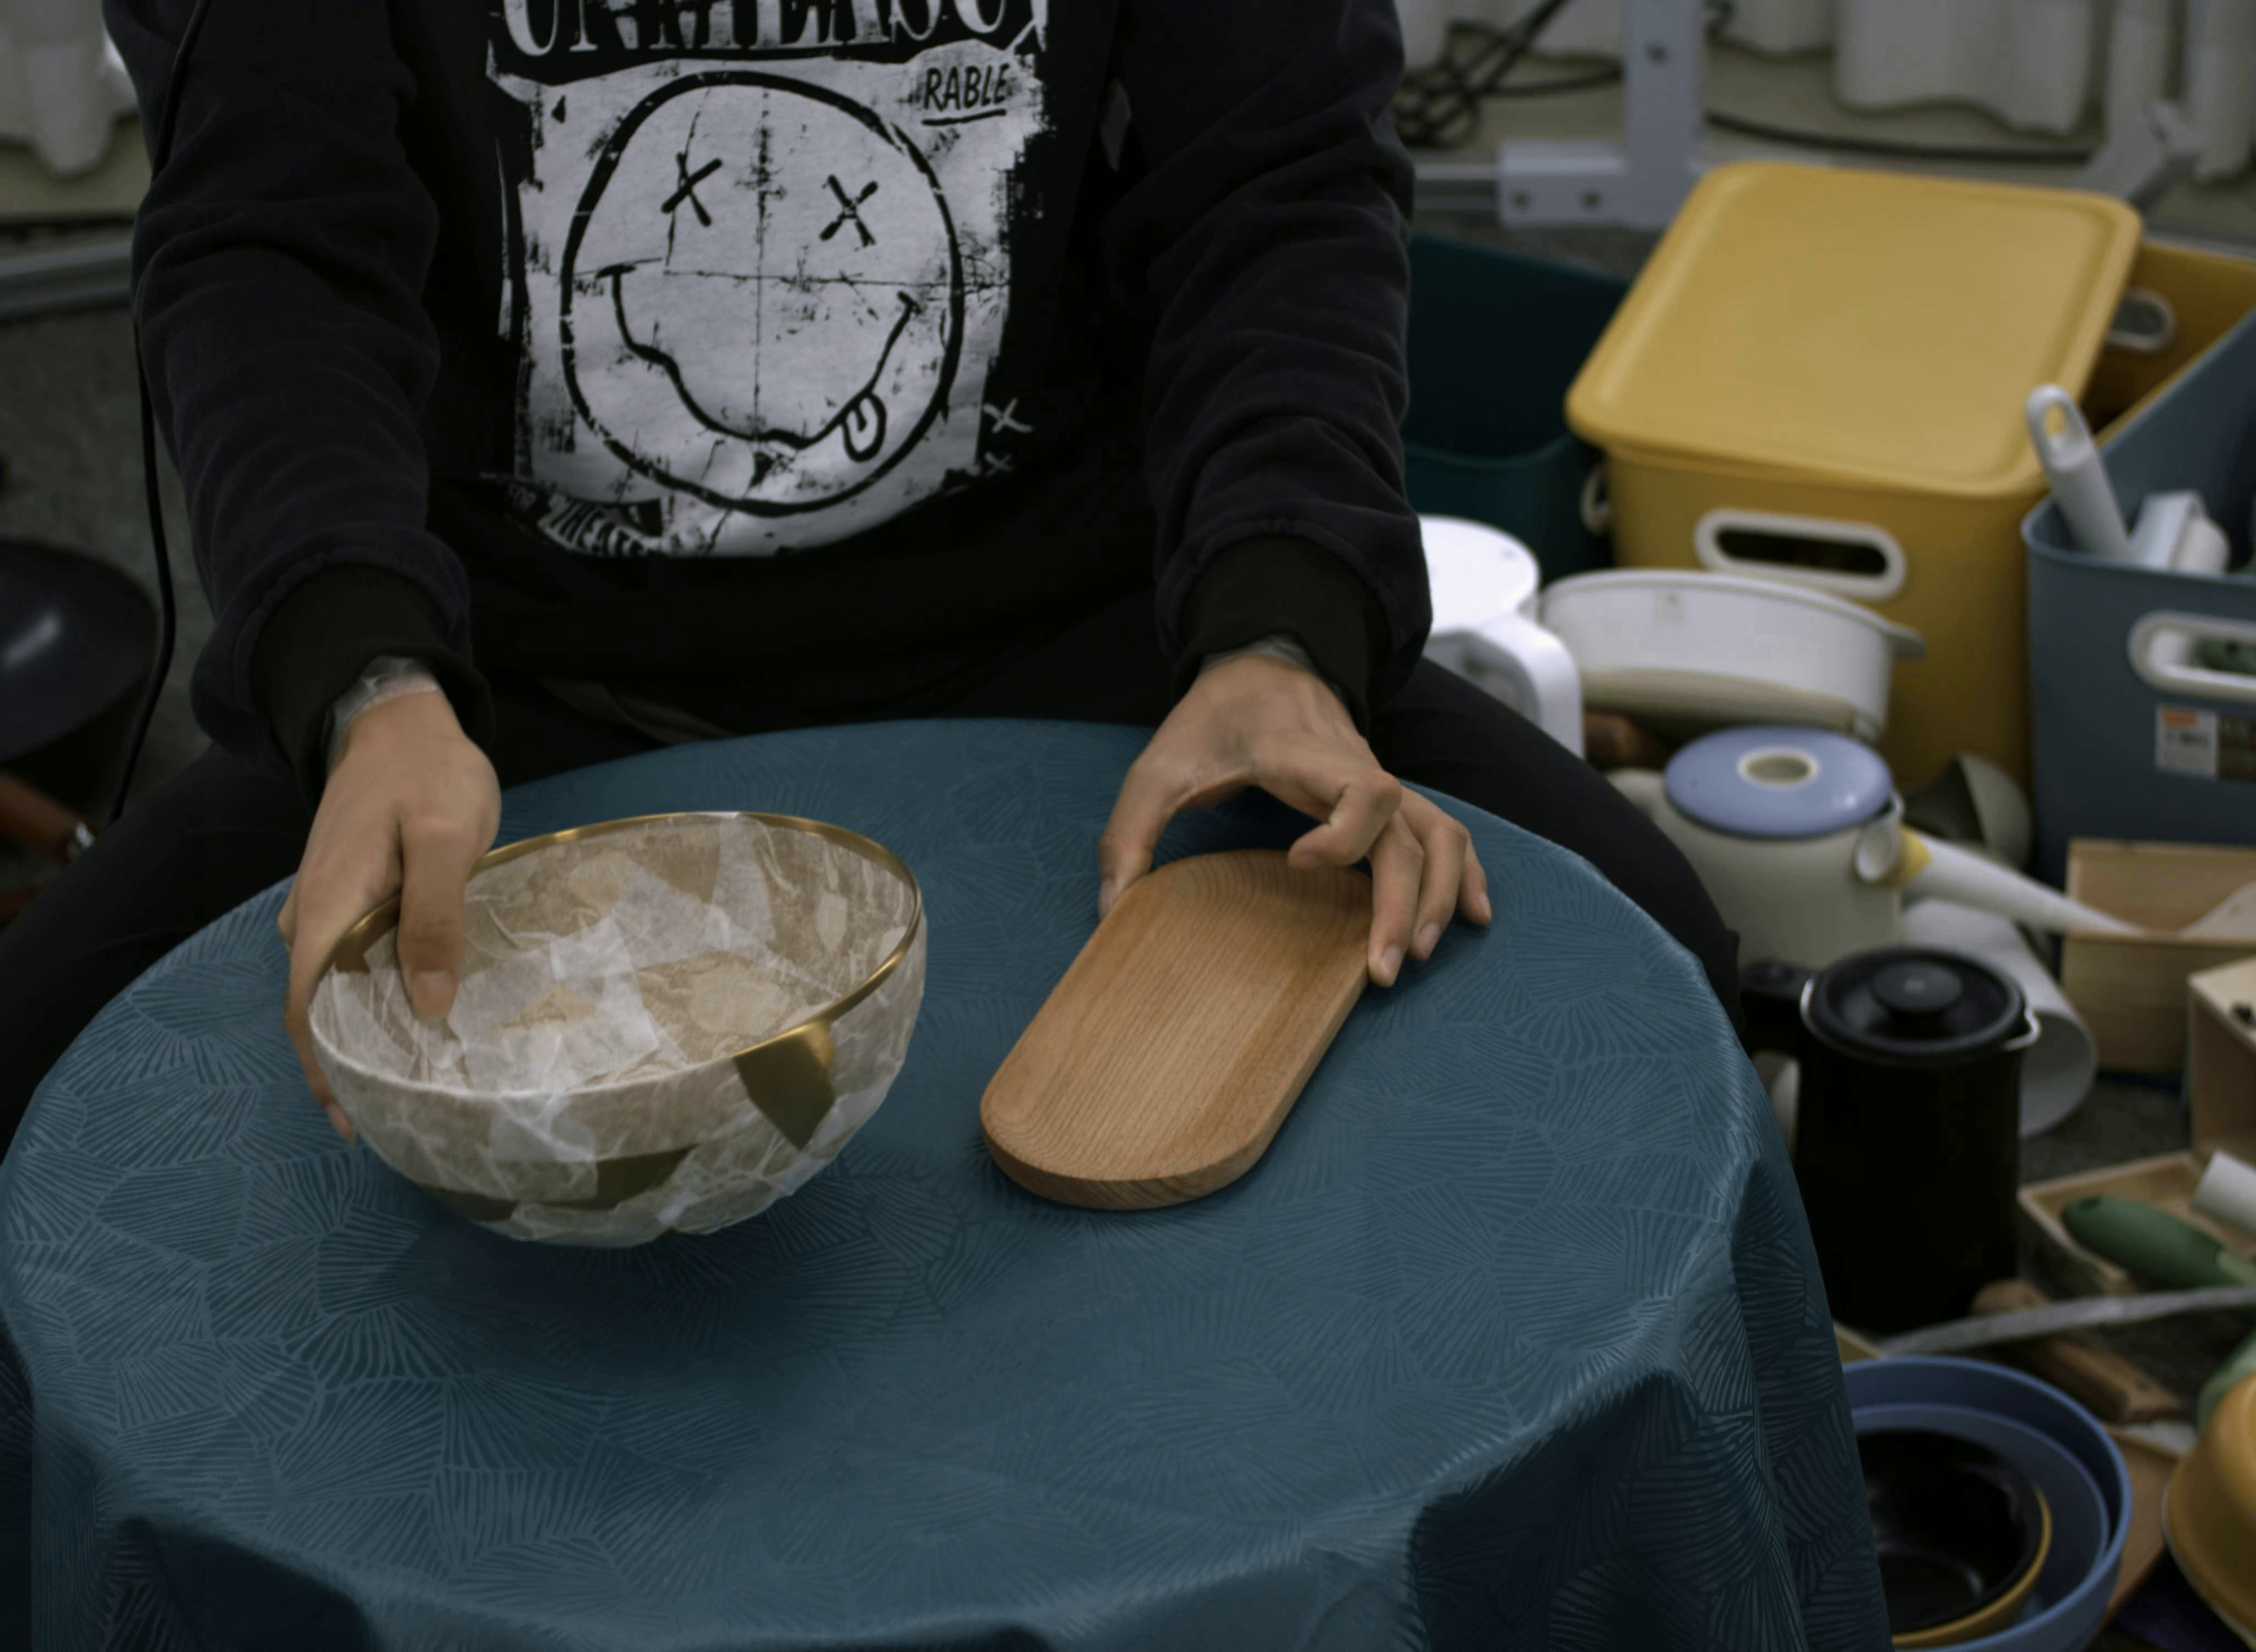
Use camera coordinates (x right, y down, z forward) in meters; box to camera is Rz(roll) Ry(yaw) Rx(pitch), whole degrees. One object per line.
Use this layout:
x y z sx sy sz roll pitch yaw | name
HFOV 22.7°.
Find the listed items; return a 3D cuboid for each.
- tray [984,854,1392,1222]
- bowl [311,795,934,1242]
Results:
0.023 0.071 1.939 0.101 0.020 0.235 5 30 18 | tray
-0.154 0.074 1.819 0.213 0.094 0.217 -7 23 3 | bowl
